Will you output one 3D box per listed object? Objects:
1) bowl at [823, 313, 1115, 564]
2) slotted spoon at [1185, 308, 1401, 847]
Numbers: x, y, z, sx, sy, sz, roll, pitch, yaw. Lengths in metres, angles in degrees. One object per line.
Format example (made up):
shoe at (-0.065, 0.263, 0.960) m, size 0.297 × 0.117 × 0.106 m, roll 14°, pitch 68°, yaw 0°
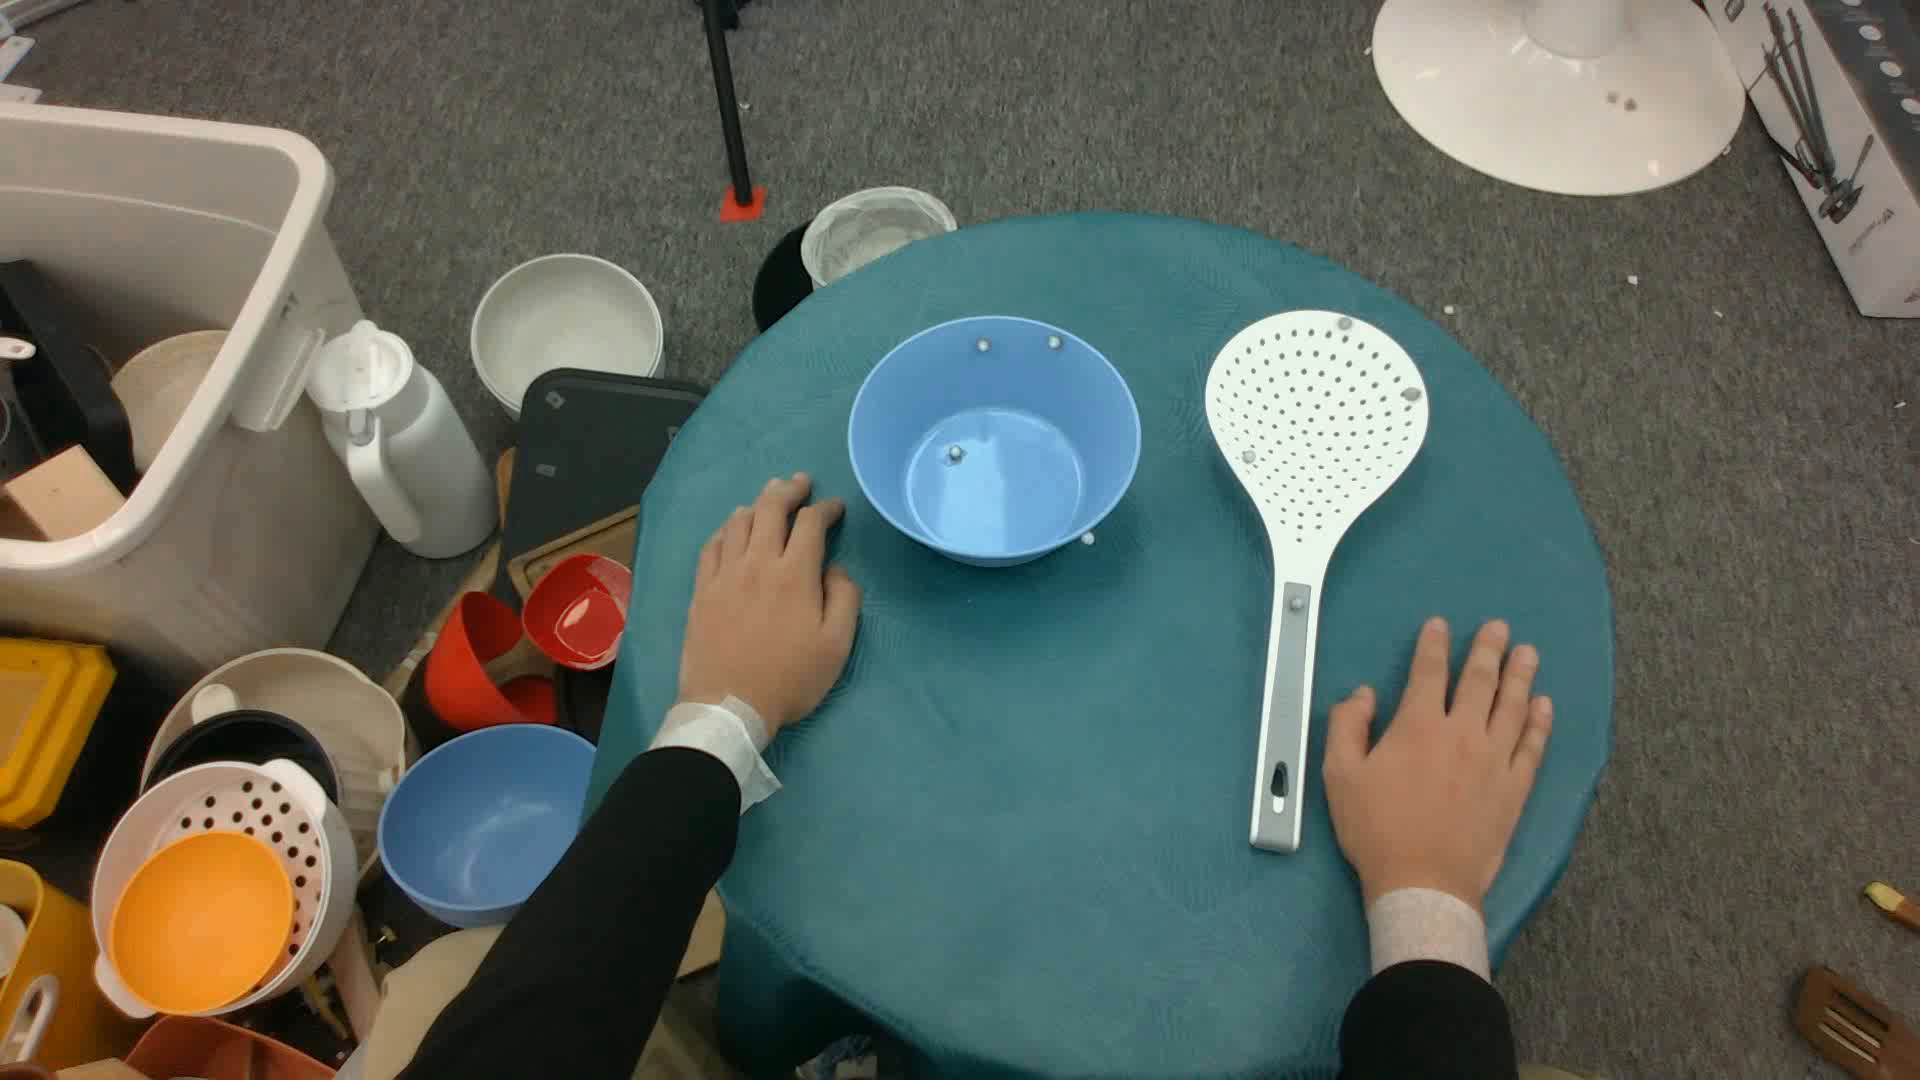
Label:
bowl at (0.006, -0.052, 0.852) m, size 0.176 × 0.070 × 0.177 m, roll 0°, pitch 60°, yaw 0°
slotted spoon at (0.192, 0.011, 0.831) m, size 0.136 × 0.045 × 0.351 m, roll 9°, pitch 61°, yaw 5°
